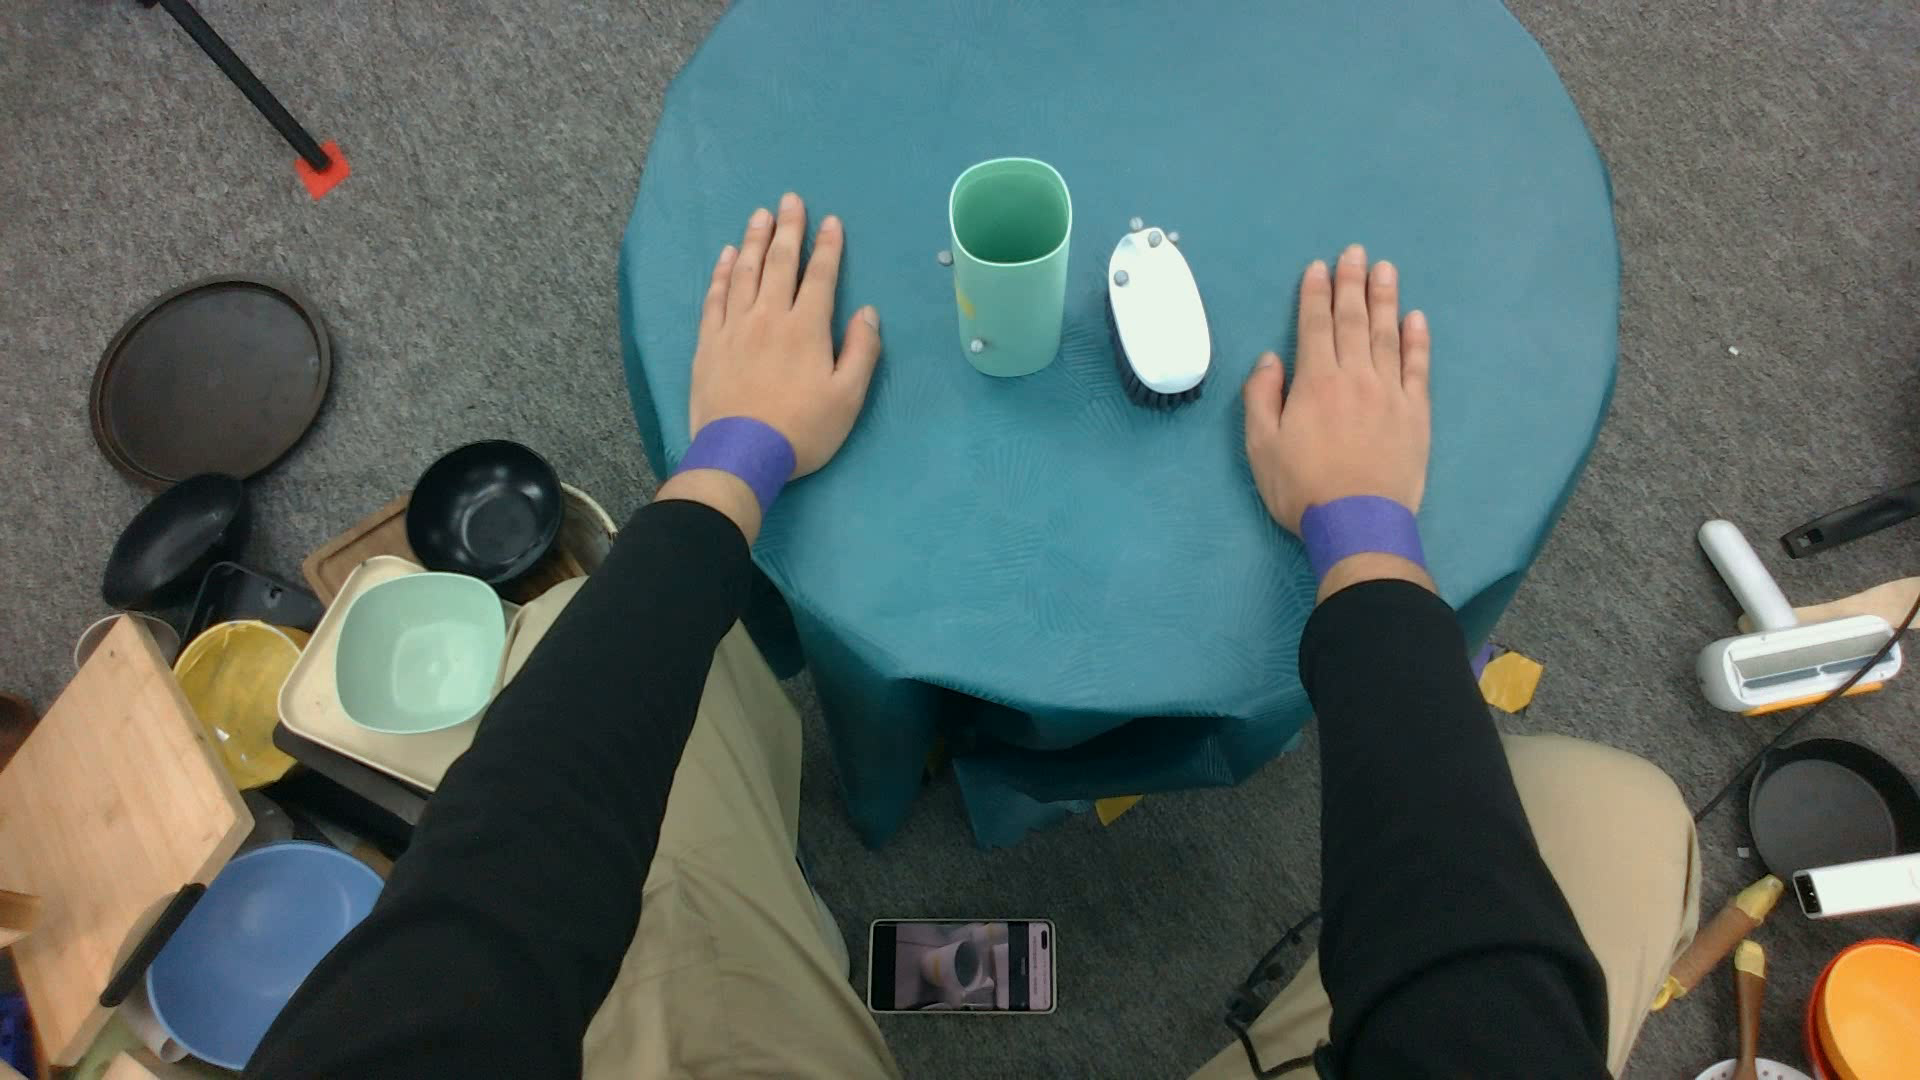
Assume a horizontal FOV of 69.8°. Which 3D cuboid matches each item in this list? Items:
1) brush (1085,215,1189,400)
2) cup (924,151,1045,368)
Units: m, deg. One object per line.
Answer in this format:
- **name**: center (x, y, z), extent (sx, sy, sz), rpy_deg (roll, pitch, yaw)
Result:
- **brush**: center (0.102, -0.138, 0.782), extent (0.050, 0.072, 0.099), rpy_deg (-11, 70, -1)
- **cup**: center (0.015, -0.151, 0.762), extent (0.067, 0.132, 0.067), rpy_deg (0, 71, 1)
